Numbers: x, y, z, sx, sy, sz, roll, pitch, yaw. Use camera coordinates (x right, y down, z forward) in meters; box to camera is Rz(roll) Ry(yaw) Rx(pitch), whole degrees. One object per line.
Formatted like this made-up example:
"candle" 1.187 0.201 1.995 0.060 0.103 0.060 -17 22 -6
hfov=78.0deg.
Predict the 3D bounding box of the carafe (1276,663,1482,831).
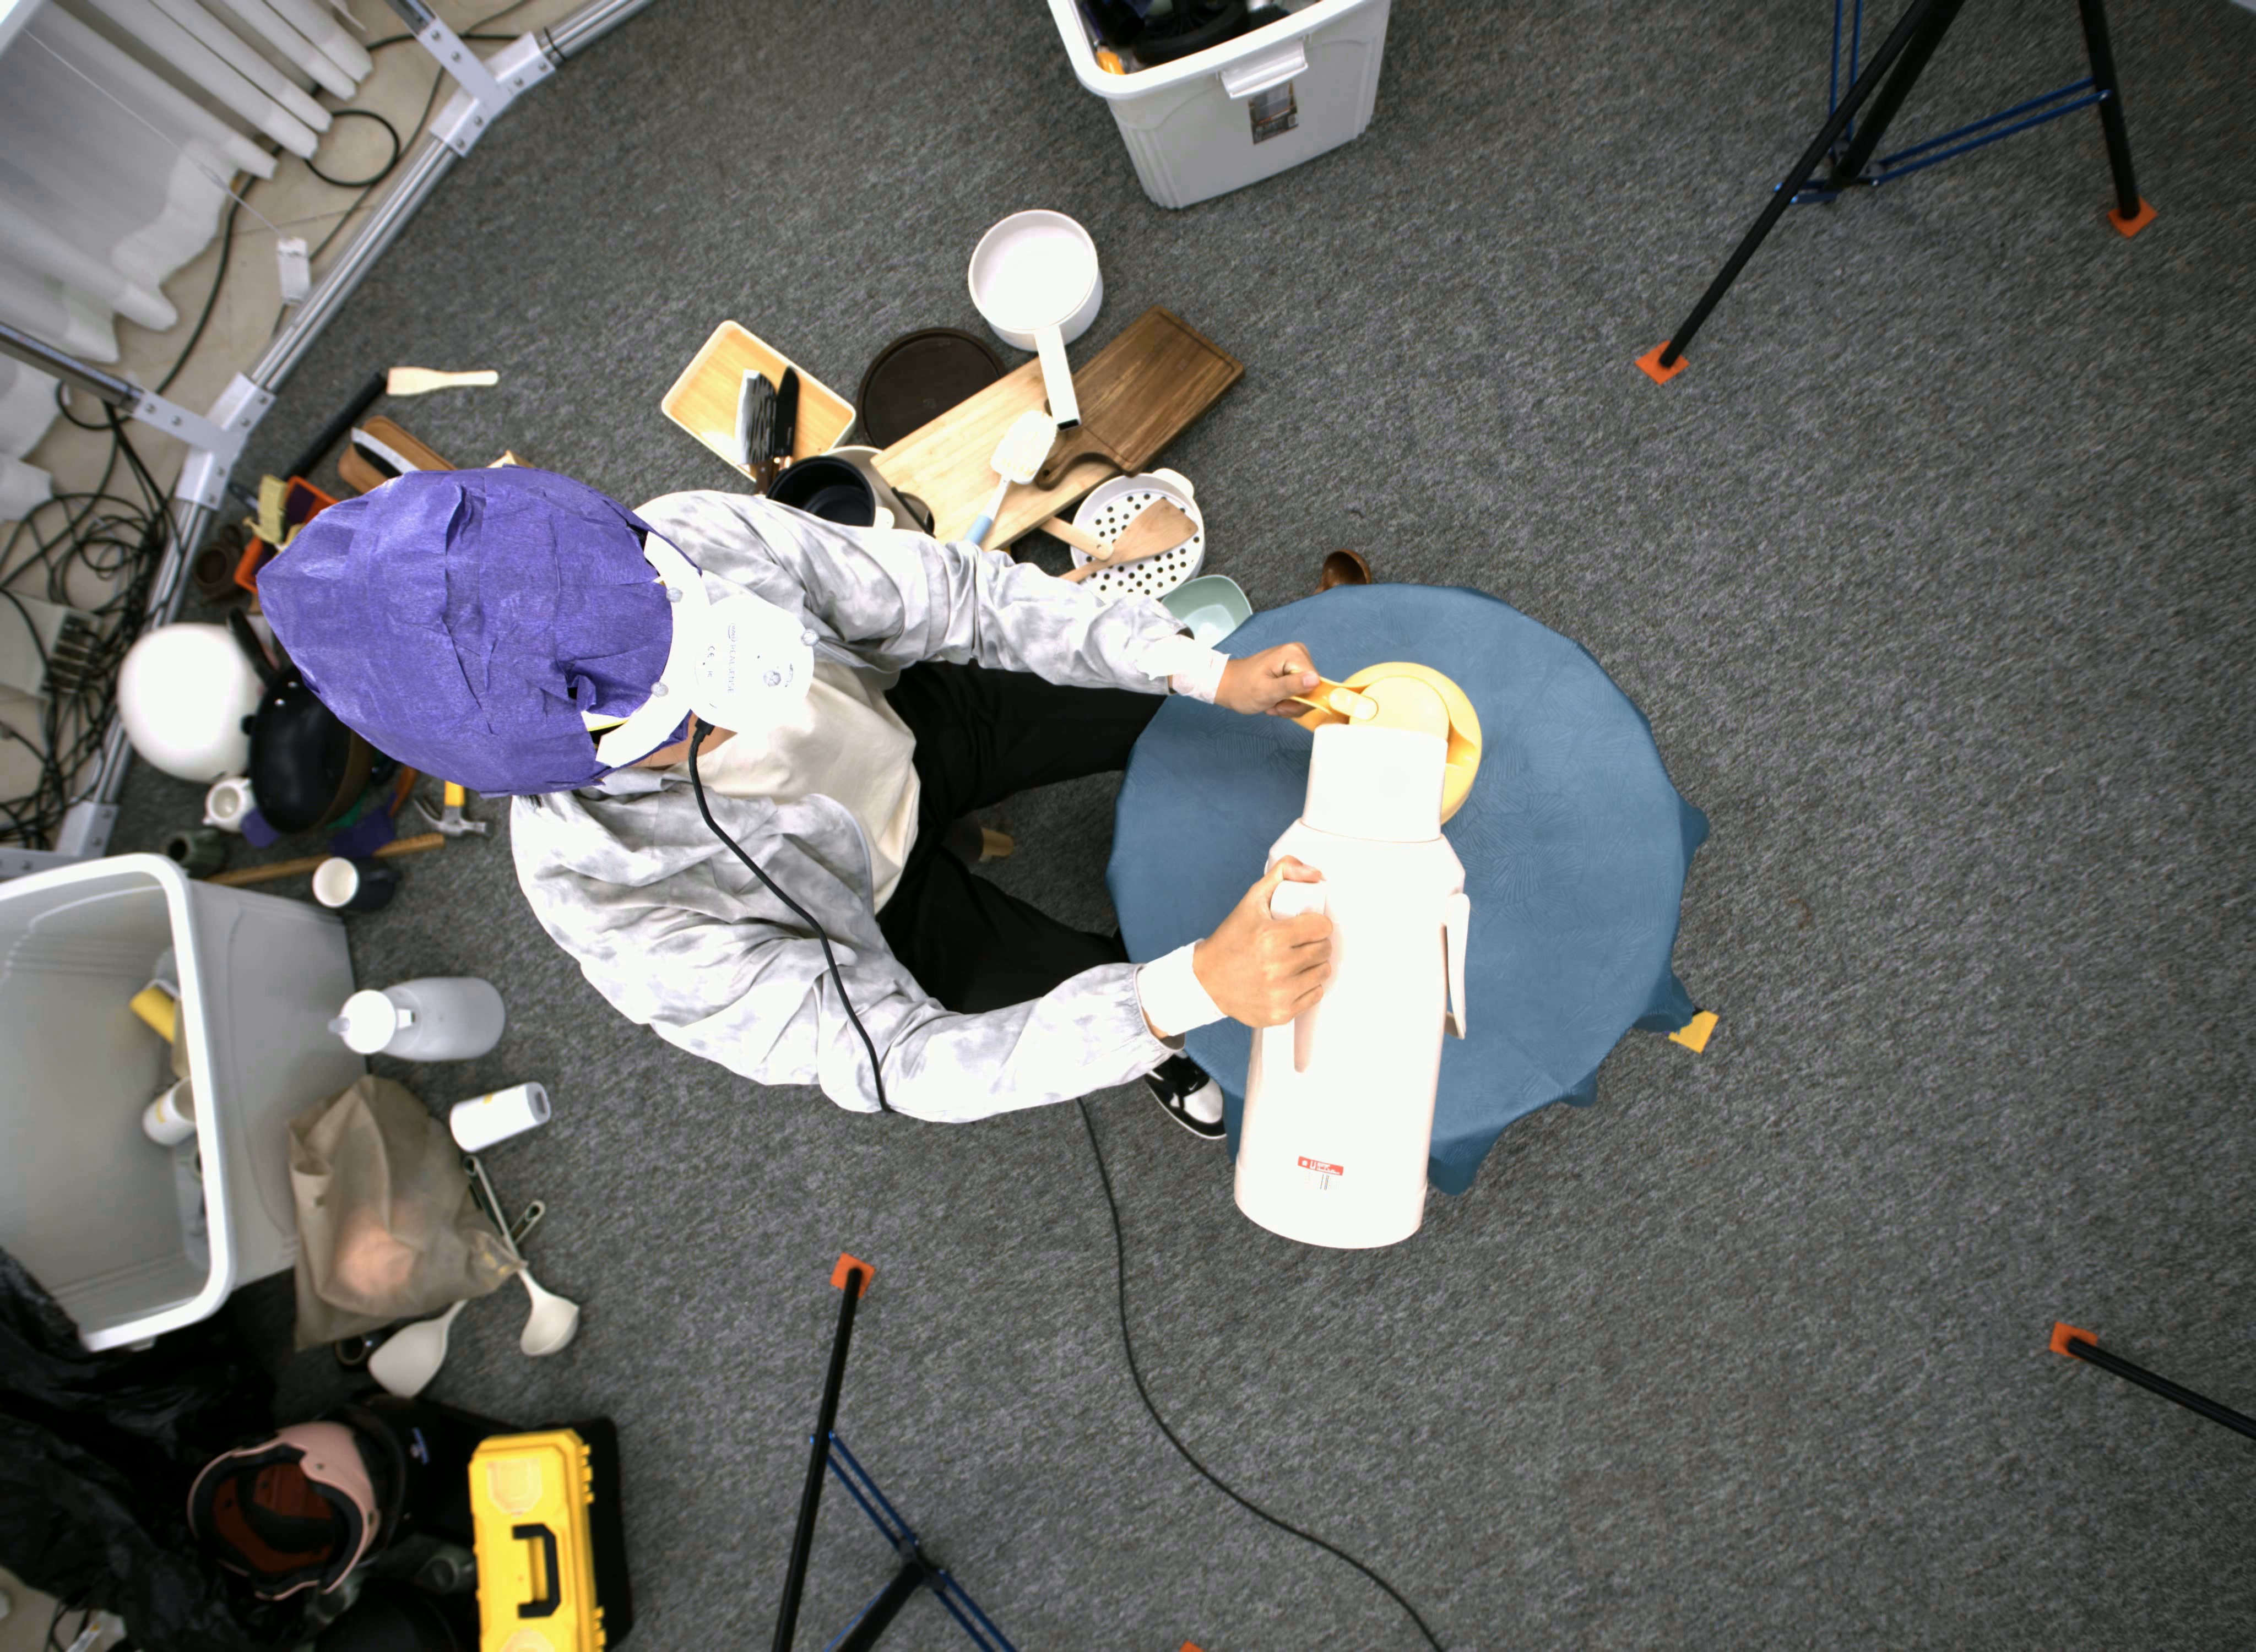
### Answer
"carafe" 0.243 -0.087 1.339 0.202 0.261 0.163 26 87 10

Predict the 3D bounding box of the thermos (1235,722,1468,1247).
"thermos" 0.172 0.124 1.113 0.175 0.204 0.411 16 108 38
